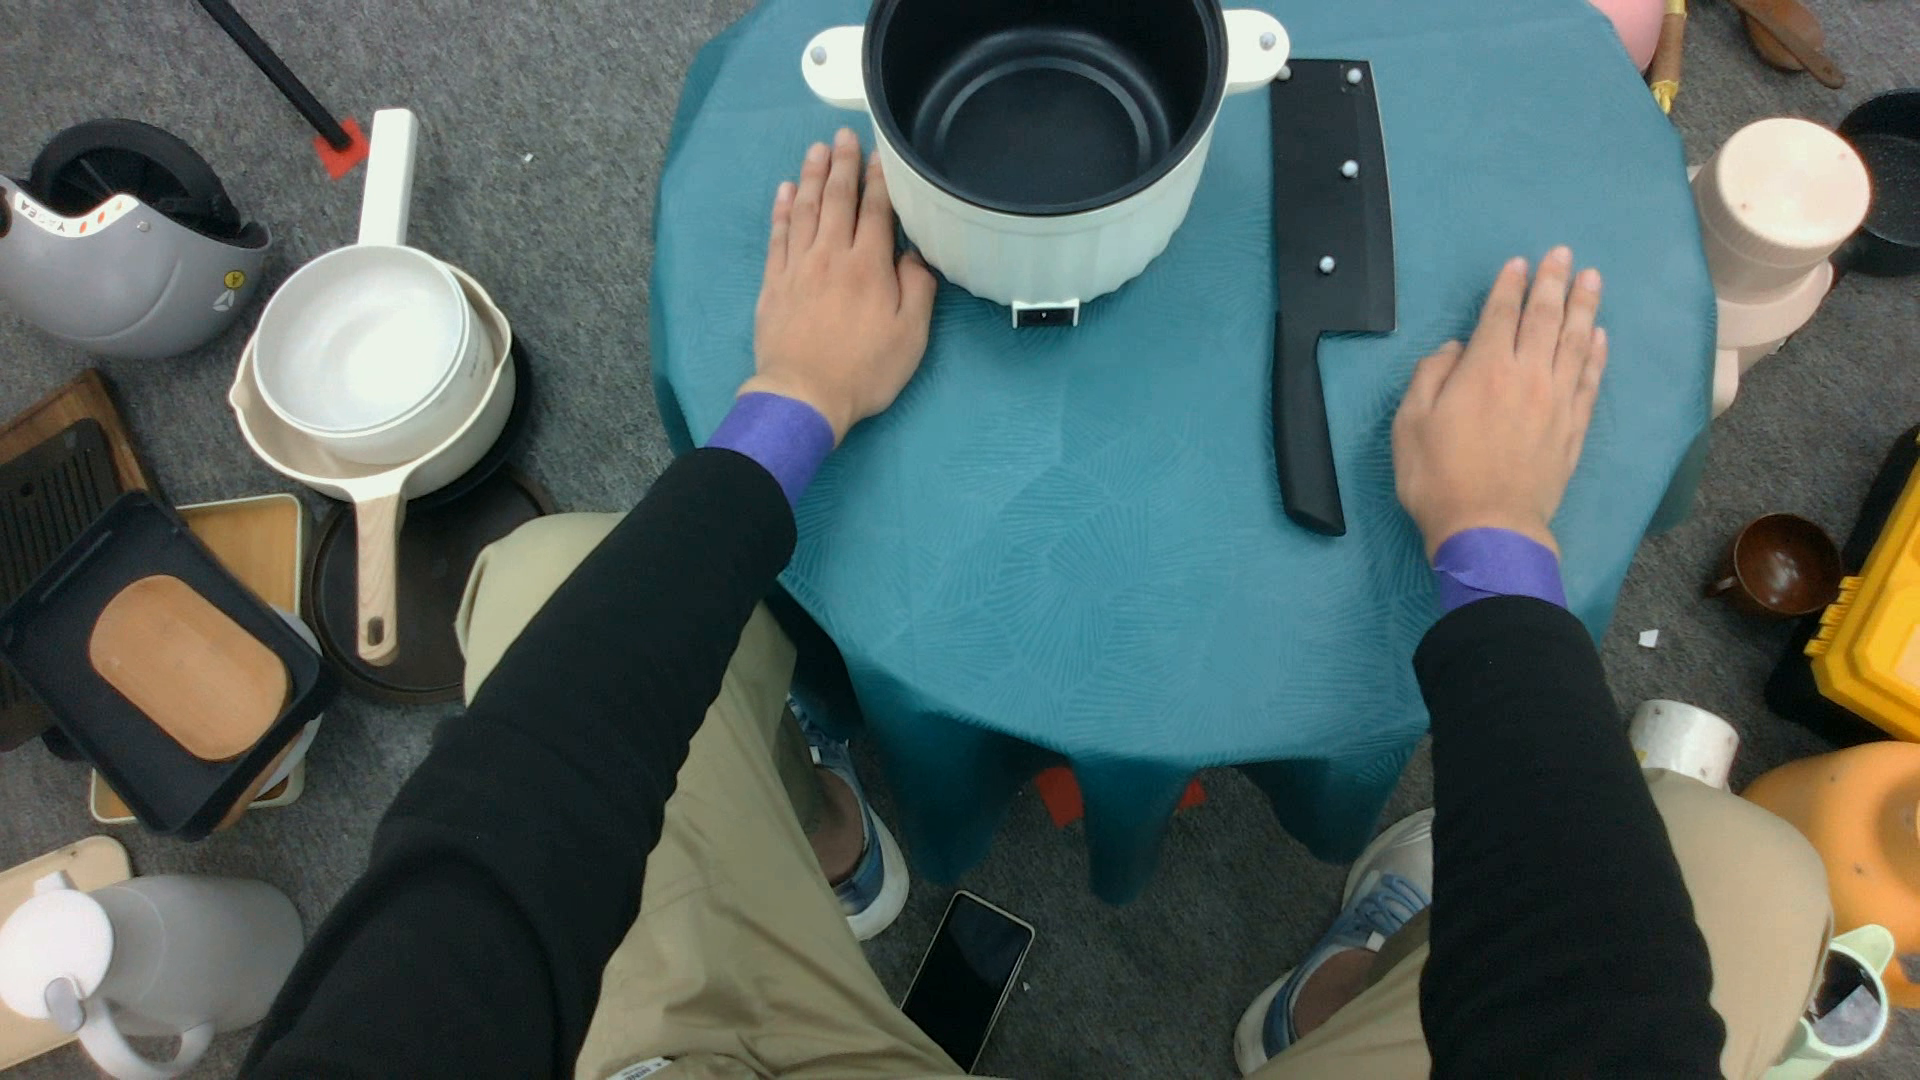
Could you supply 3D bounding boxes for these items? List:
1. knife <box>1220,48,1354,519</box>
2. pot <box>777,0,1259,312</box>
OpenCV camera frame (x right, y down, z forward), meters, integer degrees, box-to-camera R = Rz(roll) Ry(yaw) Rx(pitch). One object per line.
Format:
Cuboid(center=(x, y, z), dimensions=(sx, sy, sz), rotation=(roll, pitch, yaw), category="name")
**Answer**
Cuboid(center=(0.185, -0.156, 0.785), dimensions=(0.081, 0.021, 0.303), rotation=(4, 71, 1), category="knife")
Cuboid(center=(0.029, -0.236, 0.746), dimensions=(0.240, 0.142, 0.191), rotation=(-3, 77, 0), category="pot")
